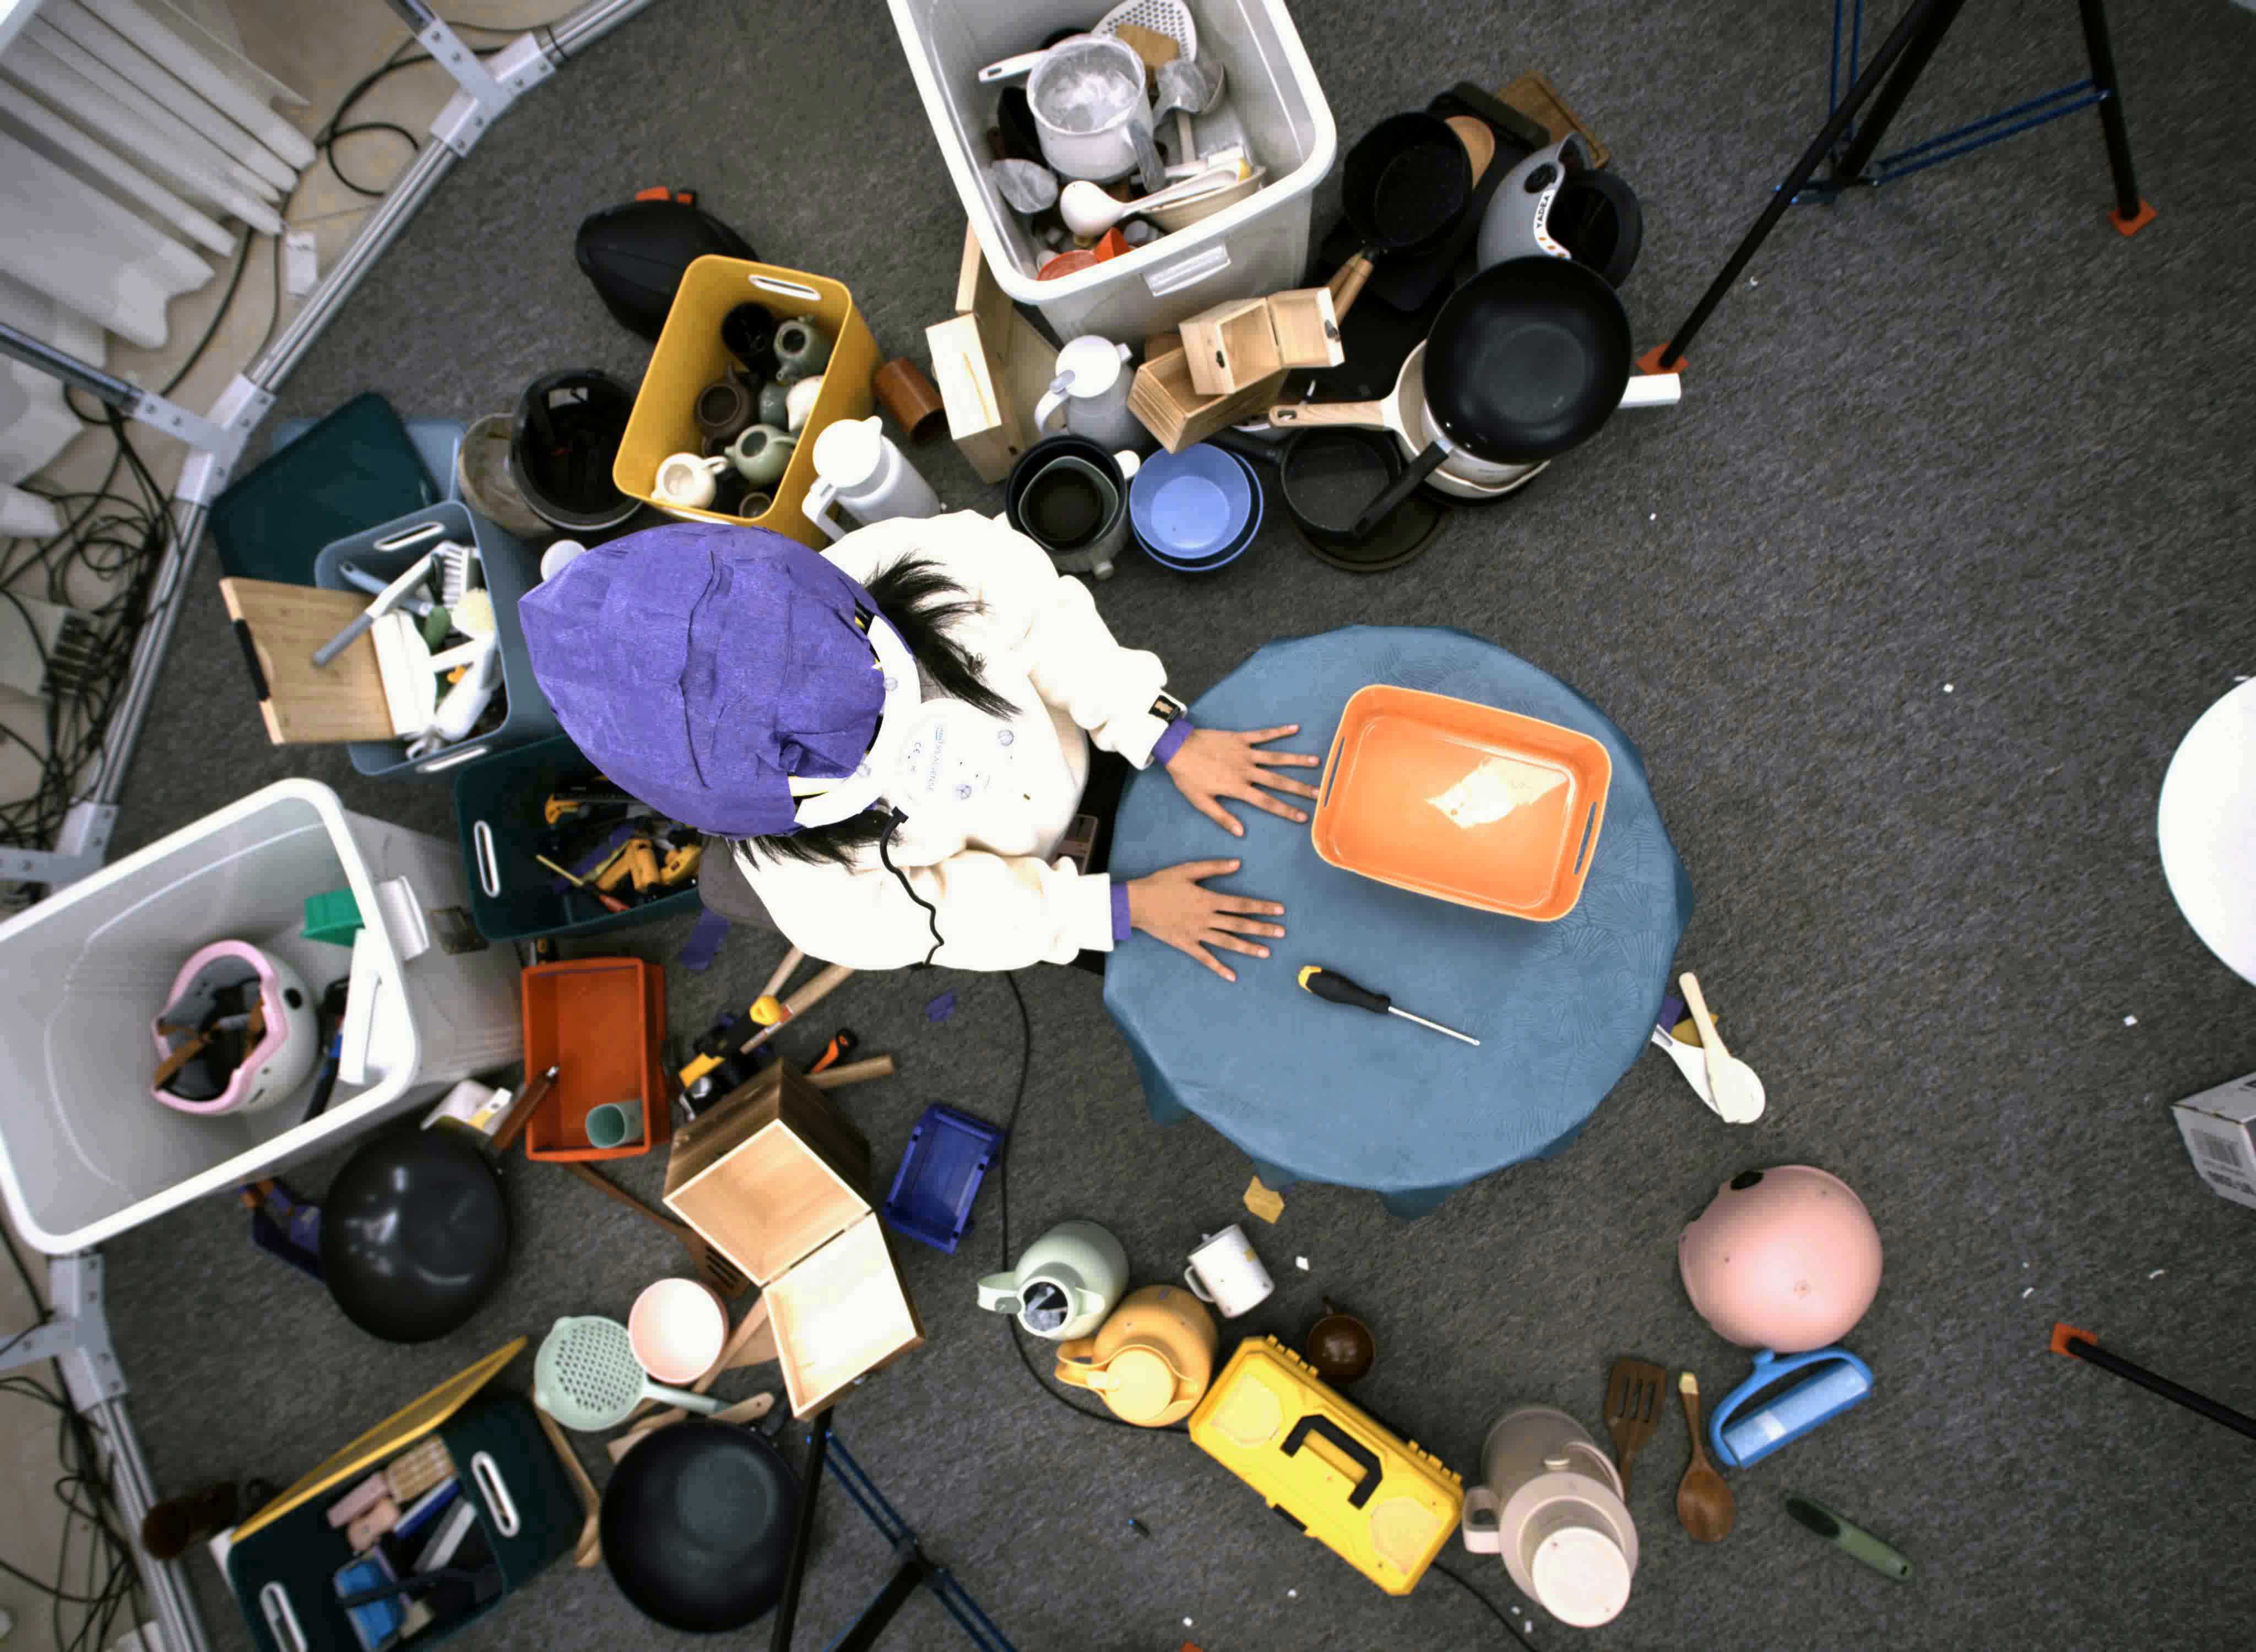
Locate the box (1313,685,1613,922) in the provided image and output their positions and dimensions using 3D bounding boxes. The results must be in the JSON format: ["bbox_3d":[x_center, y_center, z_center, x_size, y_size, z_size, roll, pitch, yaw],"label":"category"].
[{"bbox_3d":[0.336,-0.022,1.400,0.273,0.102,0.199,15,90,11],"label":"box"}]

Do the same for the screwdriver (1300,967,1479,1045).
[{"bbox_3d":[0.272,0.192,1.444,0.196,0.031,0.031,23,89,6],"label":"screwdriver"}]
